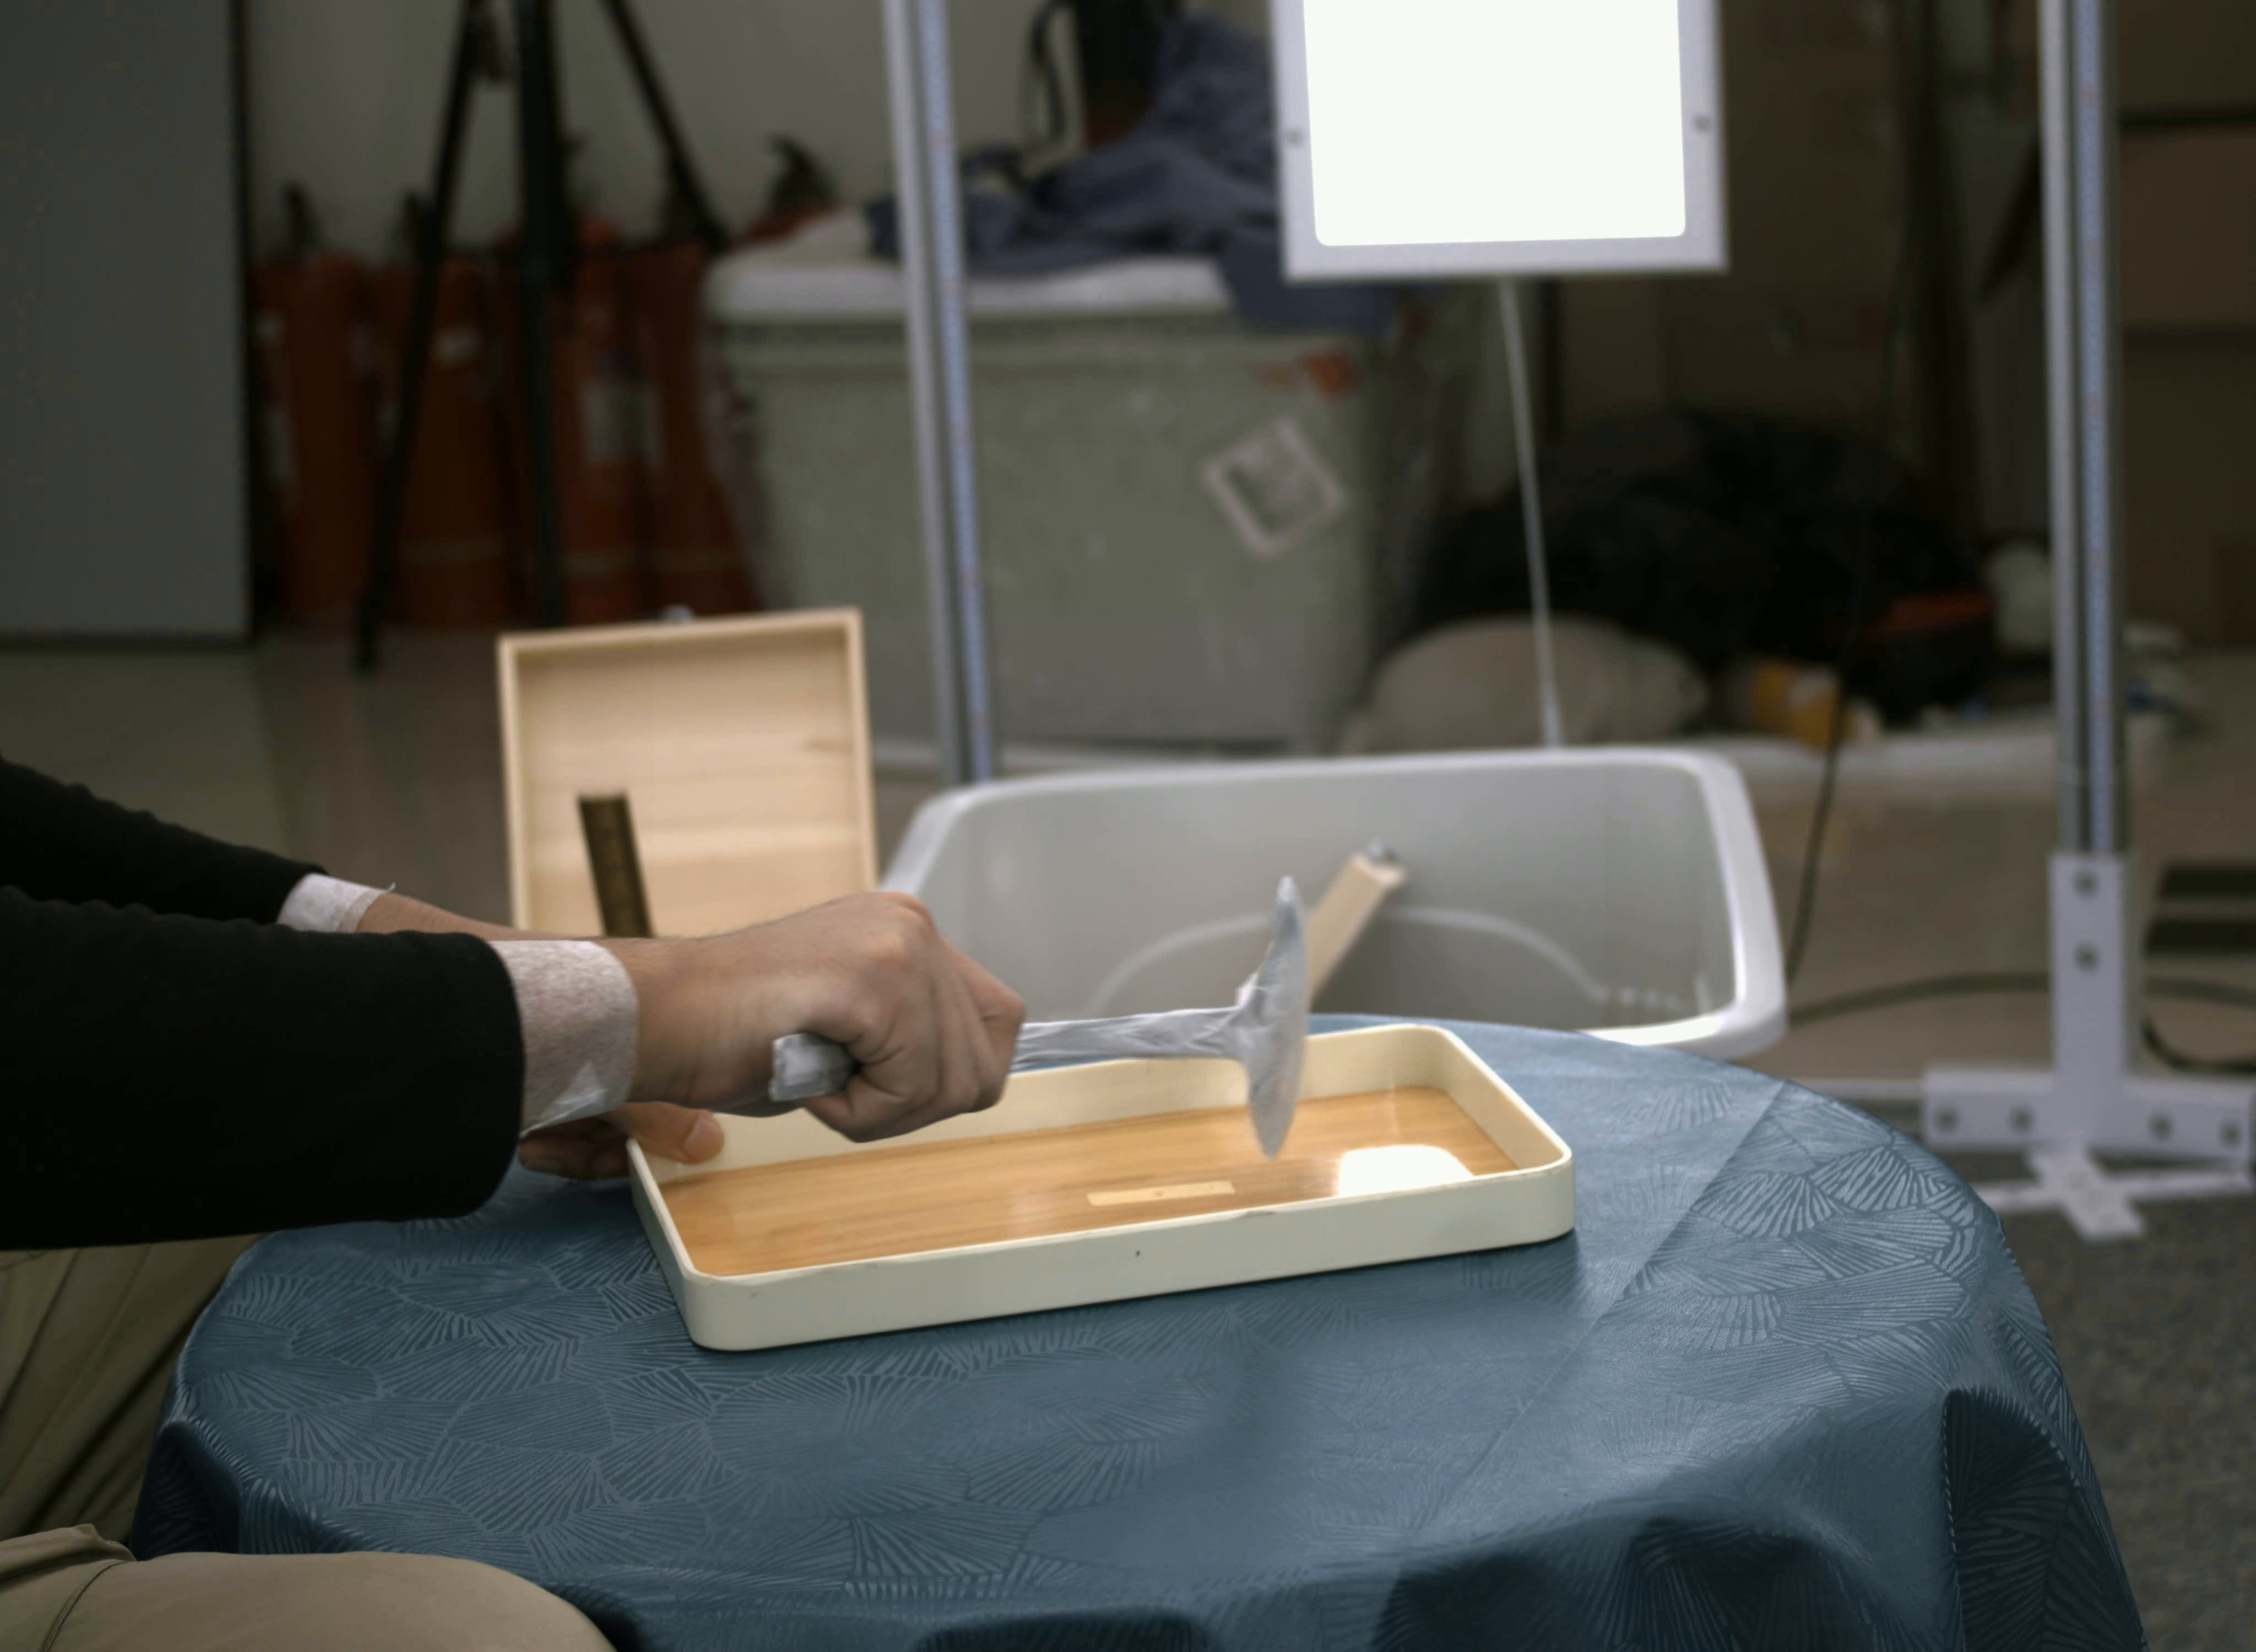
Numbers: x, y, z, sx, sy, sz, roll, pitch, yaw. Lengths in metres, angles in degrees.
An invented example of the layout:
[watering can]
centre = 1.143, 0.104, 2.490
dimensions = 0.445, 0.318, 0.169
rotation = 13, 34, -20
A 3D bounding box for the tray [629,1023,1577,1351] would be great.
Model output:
[tray]
centre = -0.012, 0.120, 1.872
dimensions = 0.297, 0.027, 0.192
rotation = -7, 14, -8

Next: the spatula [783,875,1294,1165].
[spatula]
centre = -0.022, 0.067, 1.732
dimensions = 0.045, 0.099, 0.356
rotation = 6, 4, 32
